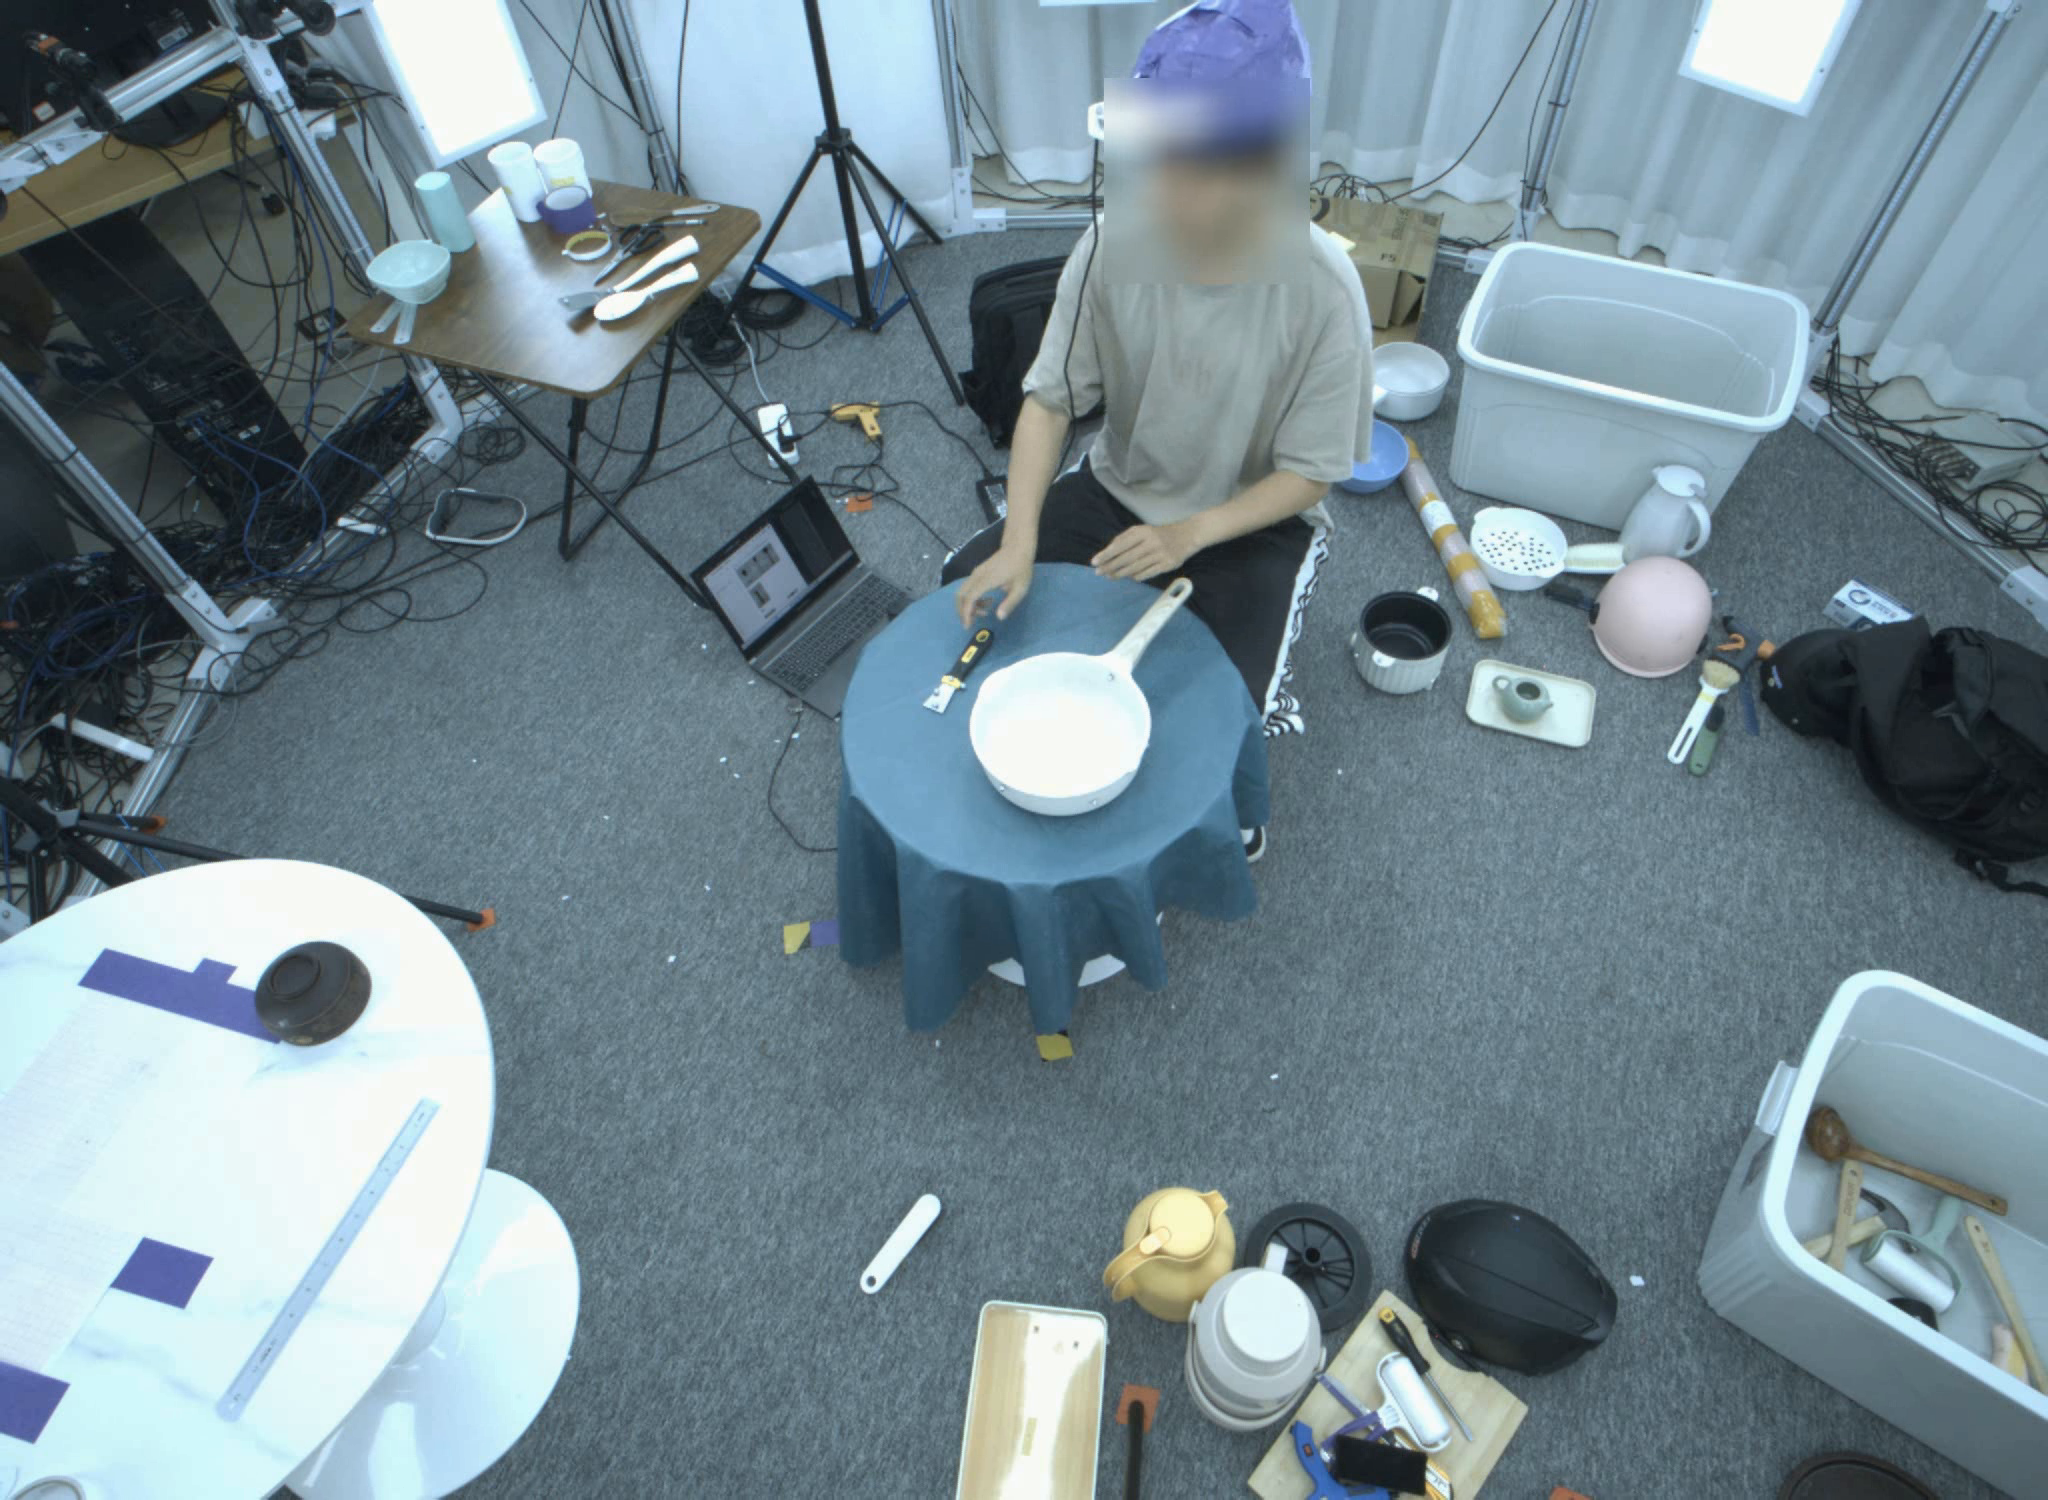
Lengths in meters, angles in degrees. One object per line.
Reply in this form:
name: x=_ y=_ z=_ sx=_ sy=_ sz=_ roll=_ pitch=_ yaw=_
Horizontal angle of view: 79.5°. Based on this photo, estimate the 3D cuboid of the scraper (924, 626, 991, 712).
scraper: x=-0.098 y=-0.125 z=1.867 sx=0.038 sy=0.015 sz=0.171 roll=17 pitch=59 yaw=23

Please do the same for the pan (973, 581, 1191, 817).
pan: x=0.114 y=-0.077 z=1.778 sx=0.259 sy=0.103 sz=0.437 roll=31 pitch=61 yaw=25
